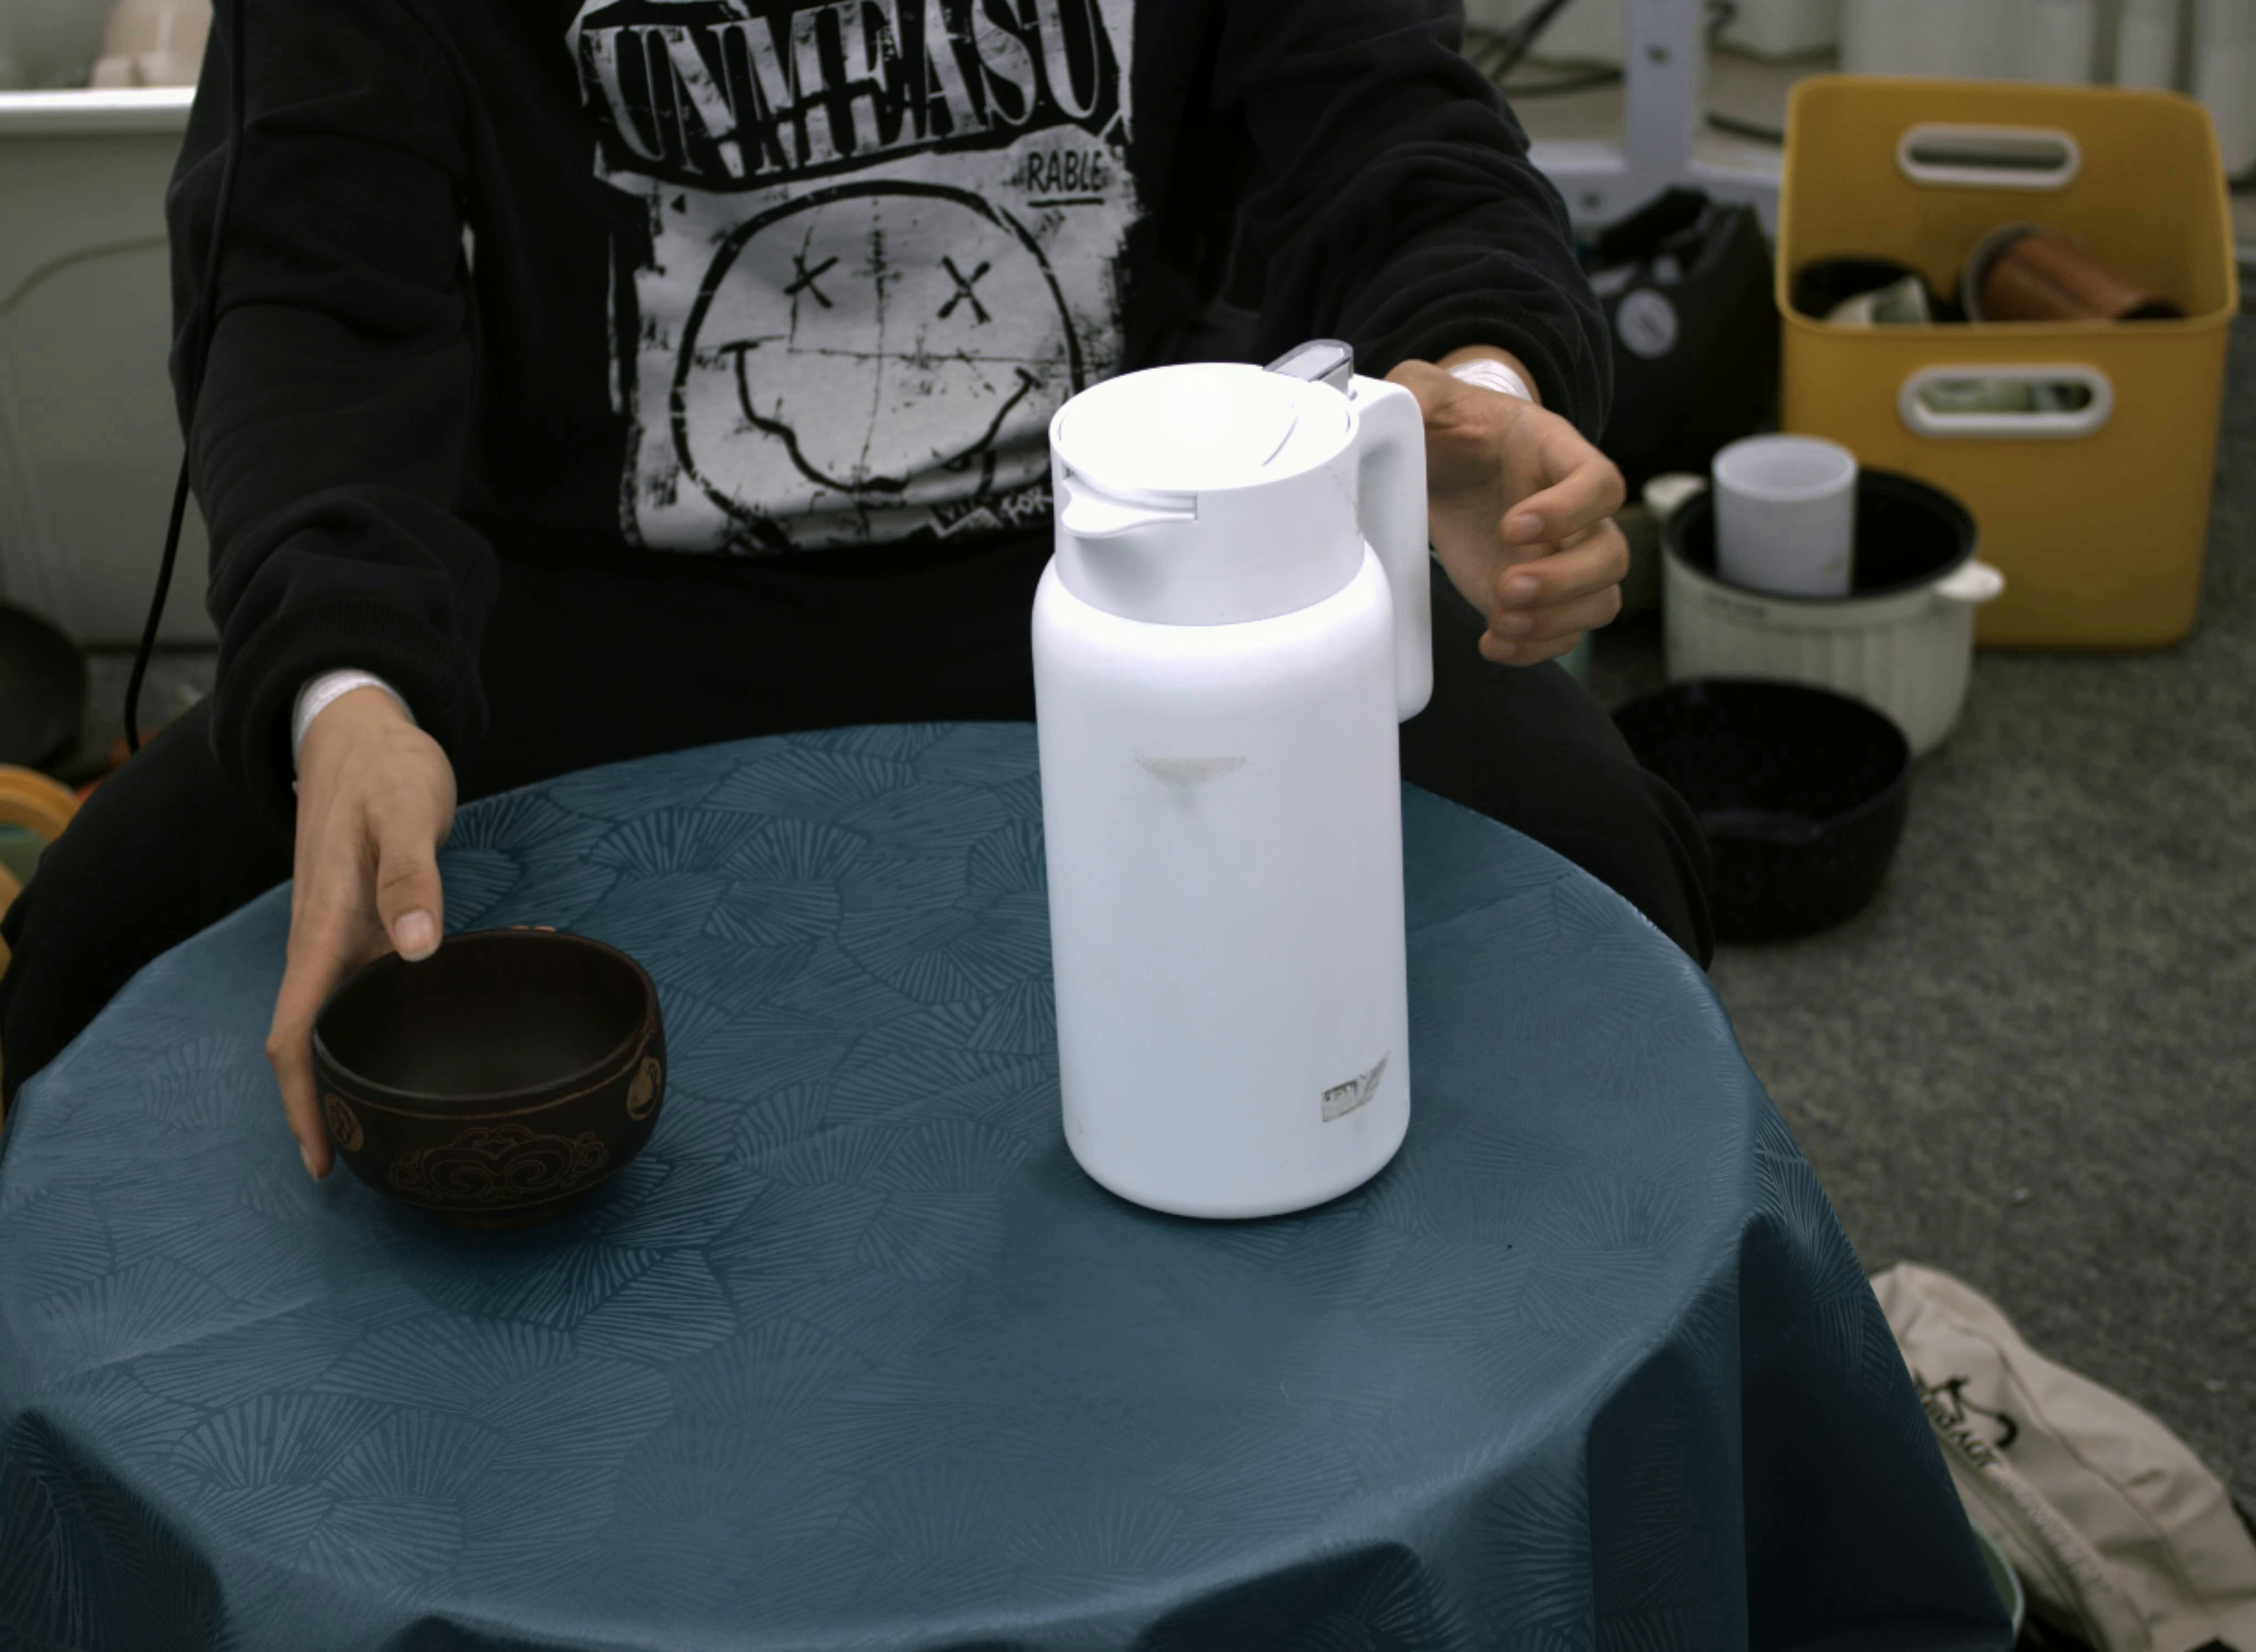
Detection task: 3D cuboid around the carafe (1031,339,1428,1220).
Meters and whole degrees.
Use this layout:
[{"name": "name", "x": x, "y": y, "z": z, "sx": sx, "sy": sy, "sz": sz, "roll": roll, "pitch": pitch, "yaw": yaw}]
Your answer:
[{"name": "carafe", "x": 0.039, "y": -0.019, "z": 1.841, "sx": 0.123, "sy": 0.266, "sz": 0.175, "roll": 13, "pitch": 30, "yaw": 33}]

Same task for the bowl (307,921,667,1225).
[{"name": "bowl", "x": -0.210, "y": 0.089, "z": 1.862, "sx": 0.117, "sy": 0.069, "sz": 0.120, "roll": -2, "pitch": 27, "yaw": 1}]
